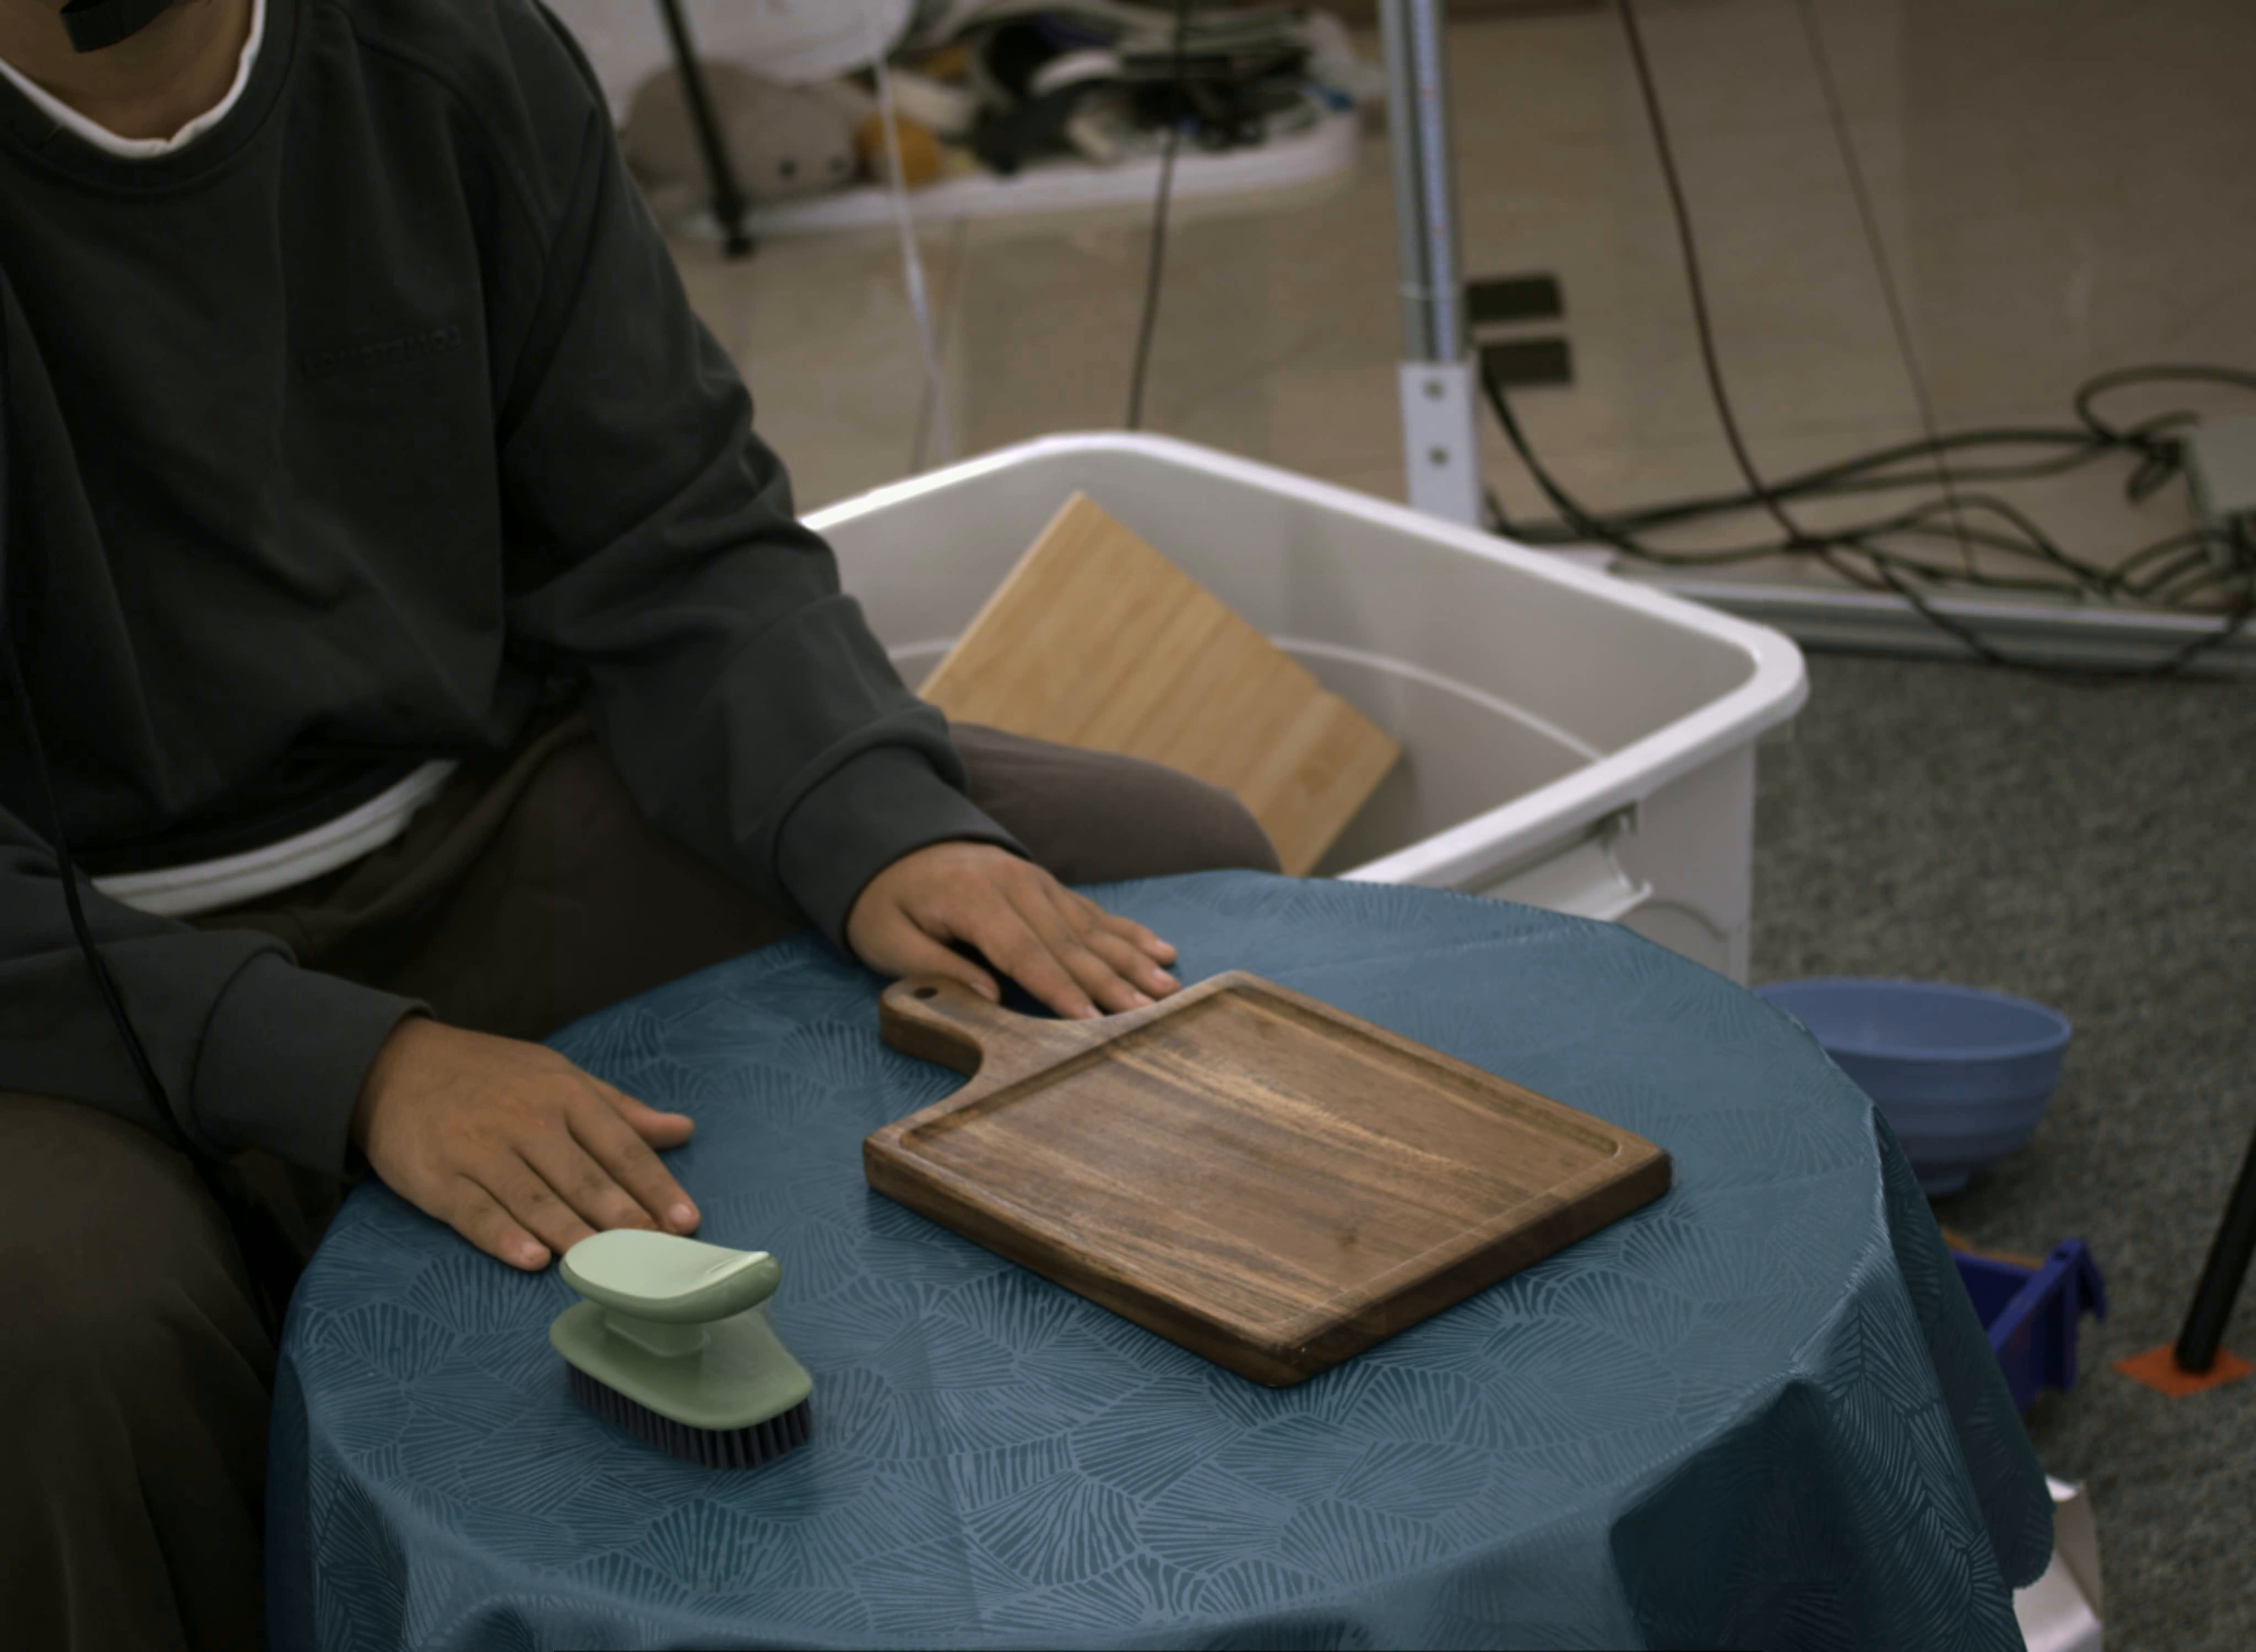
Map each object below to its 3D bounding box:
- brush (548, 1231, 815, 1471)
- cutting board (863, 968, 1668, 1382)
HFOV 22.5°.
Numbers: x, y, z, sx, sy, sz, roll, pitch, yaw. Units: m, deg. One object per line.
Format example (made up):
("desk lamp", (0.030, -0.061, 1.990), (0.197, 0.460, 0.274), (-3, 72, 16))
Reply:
("brush", (-0.159, 0.185, 2.024), (0.059, 0.076, 0.122), (-25, 17, -35))
("cutting board", (0.018, 0.114, 2.173), (0.199, 0.023, 0.349), (-23, 29, -33))
